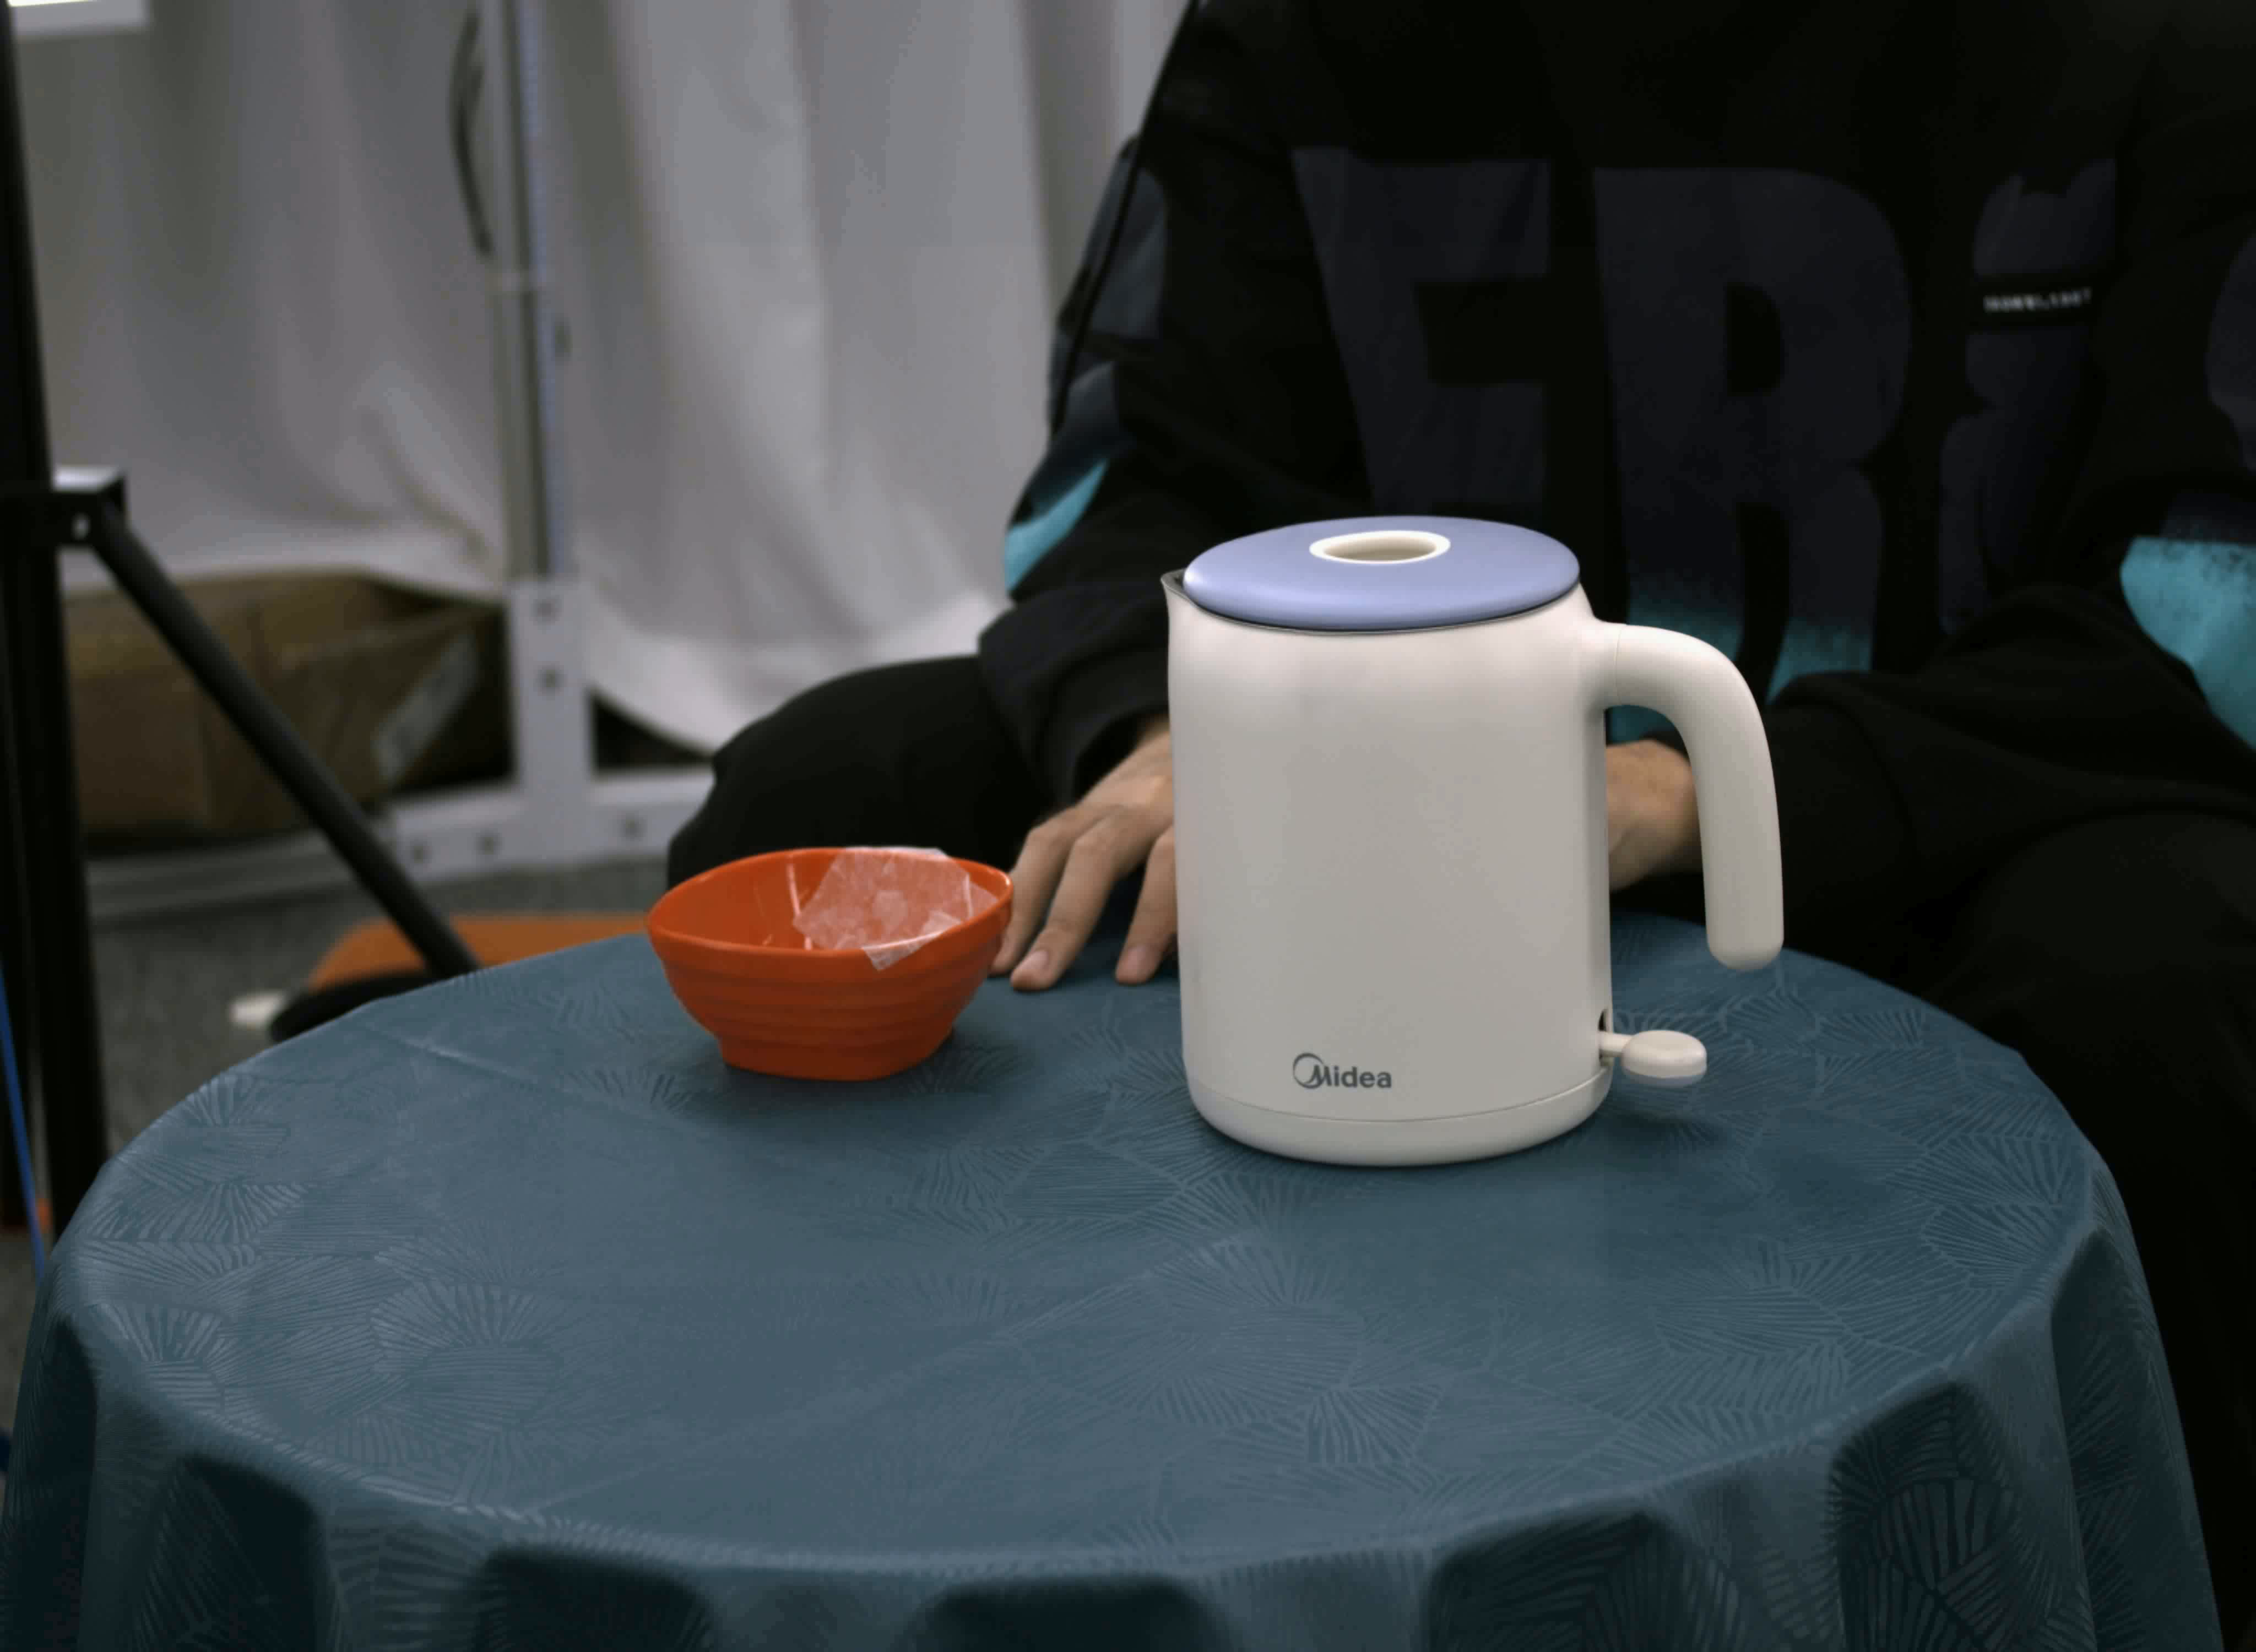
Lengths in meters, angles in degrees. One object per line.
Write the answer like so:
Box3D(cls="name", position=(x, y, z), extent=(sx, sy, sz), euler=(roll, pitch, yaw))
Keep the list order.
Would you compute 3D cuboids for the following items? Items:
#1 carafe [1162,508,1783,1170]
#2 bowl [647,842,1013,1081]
Box3D(cls="carafe", position=(0.102, 0.005, 1.593), extent=(0.193, 0.182, 0.131), euler=(5, 18, 17))
Box3D(cls="bowl", position=(-0.092, 0.045, 1.697), extent=(0.118, 0.051, 0.119), euler=(-5, 17, 0))
